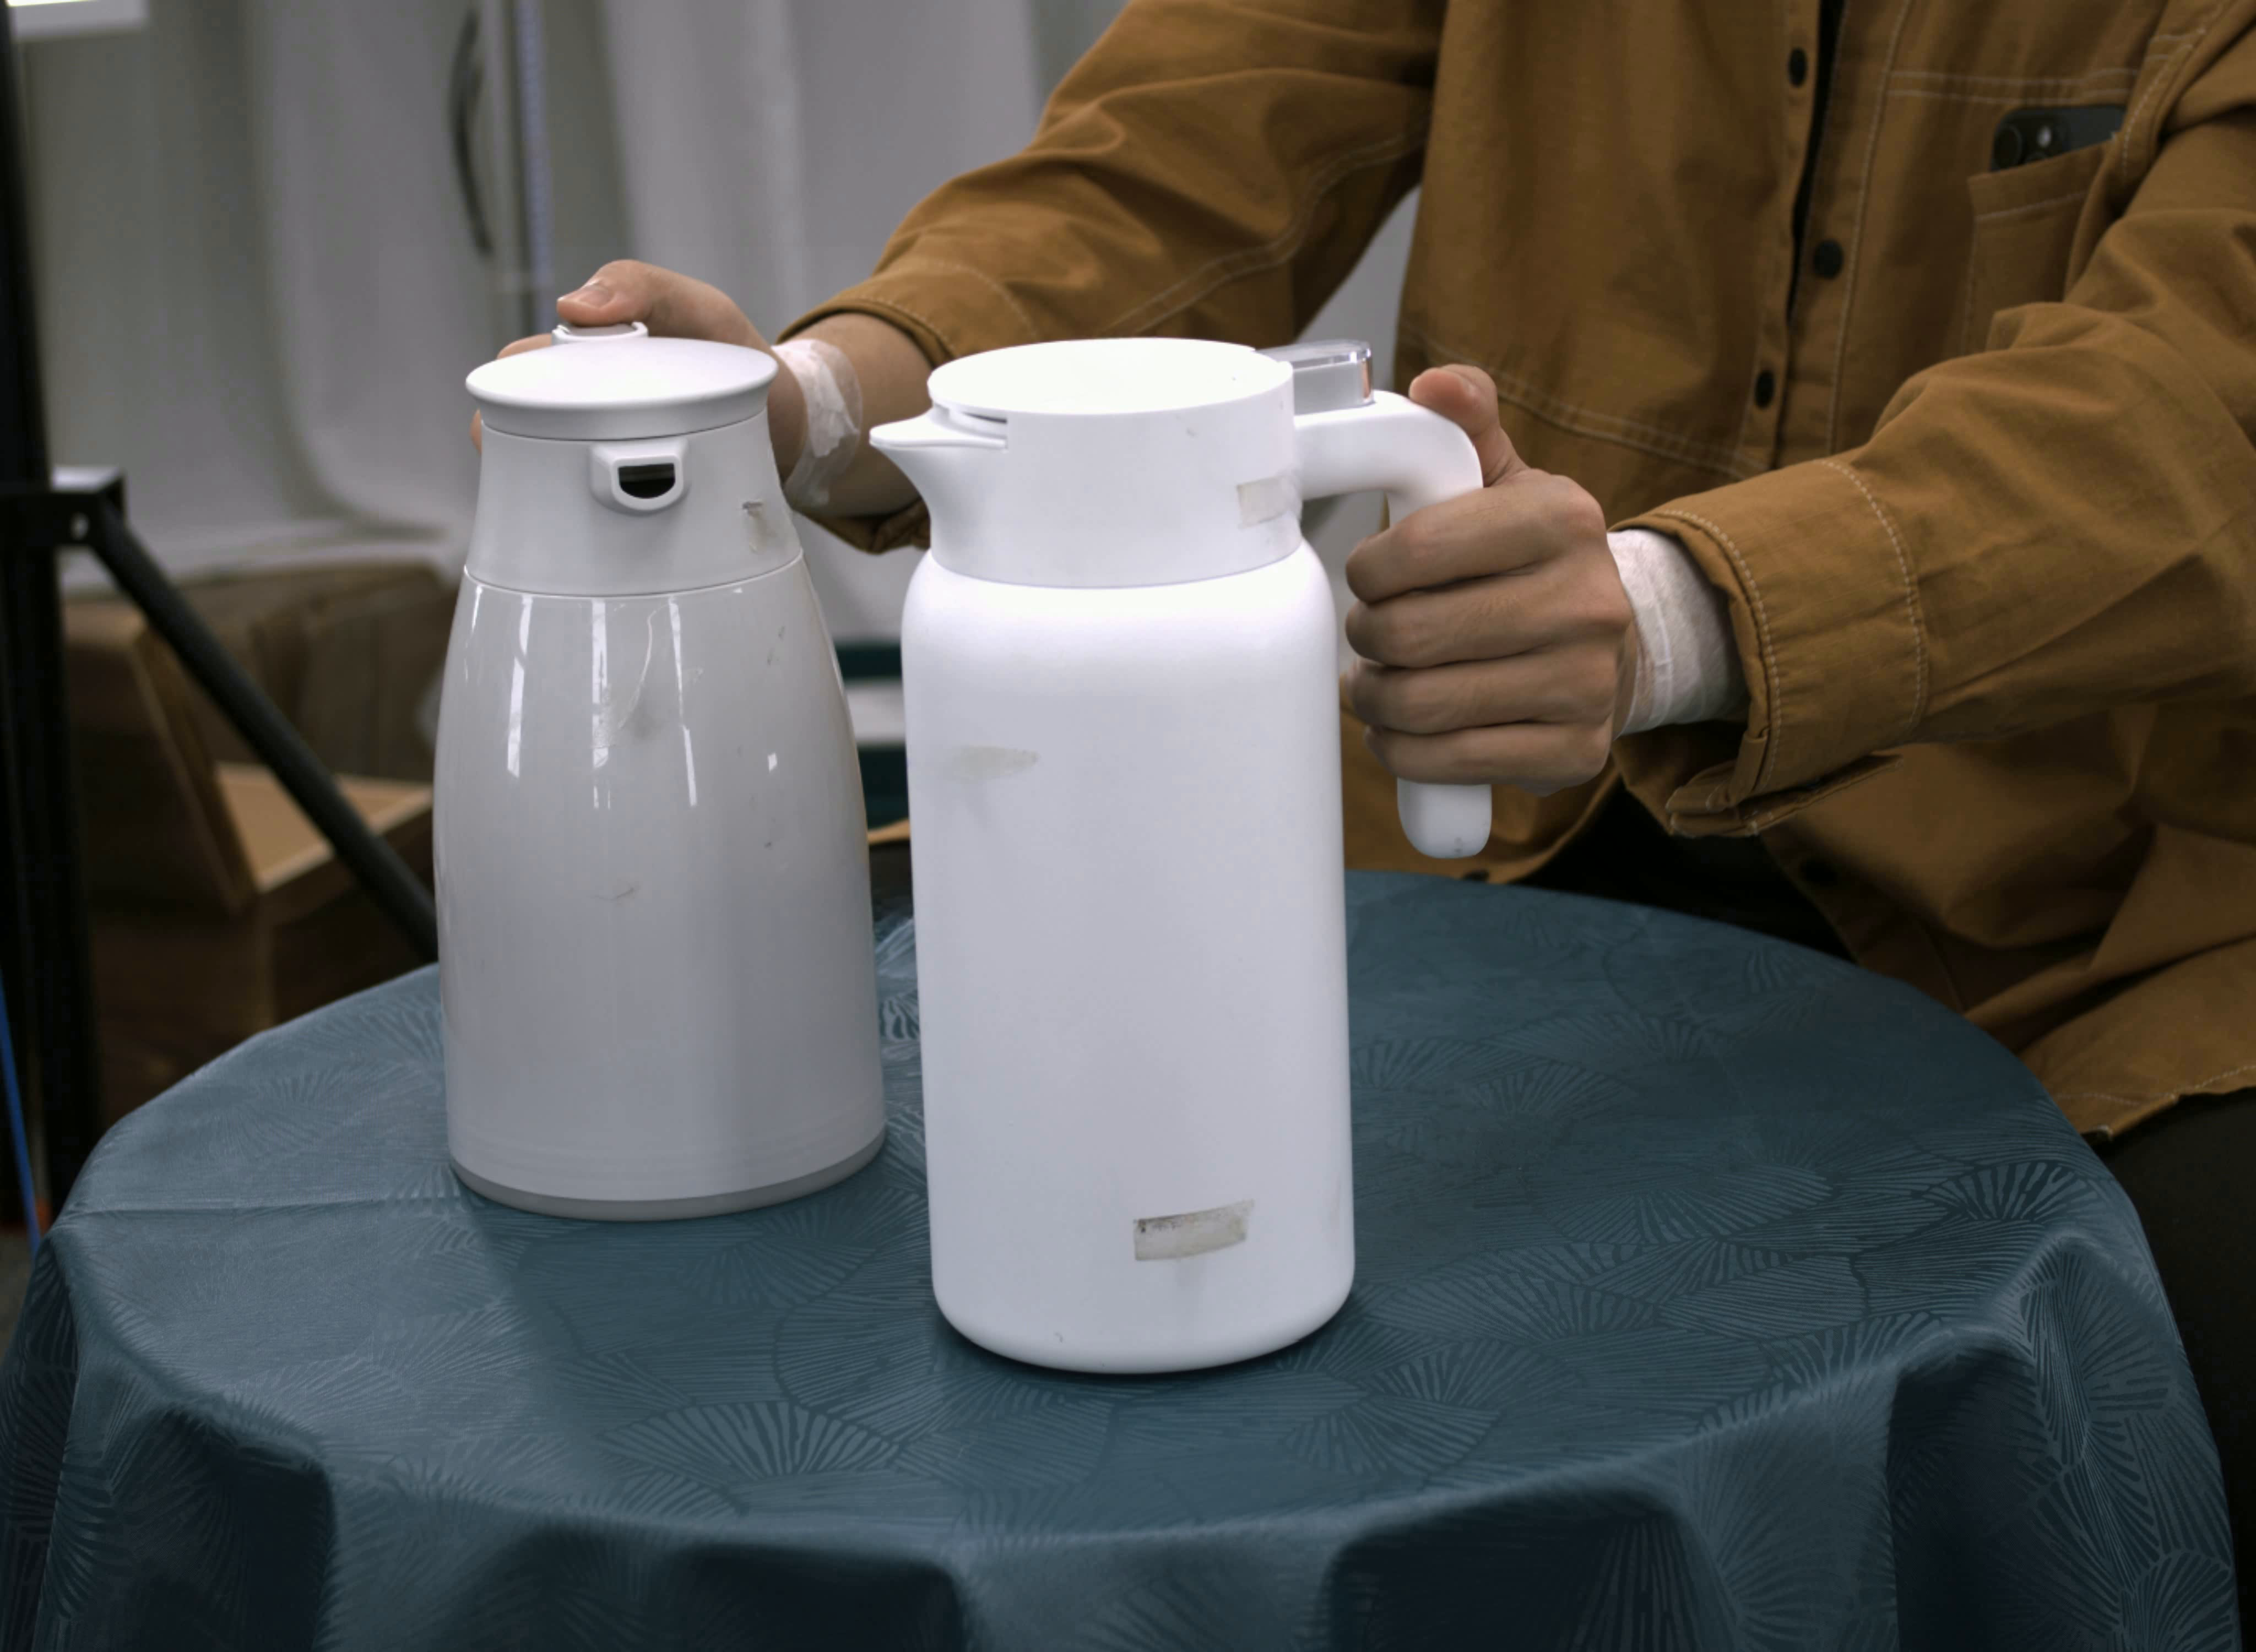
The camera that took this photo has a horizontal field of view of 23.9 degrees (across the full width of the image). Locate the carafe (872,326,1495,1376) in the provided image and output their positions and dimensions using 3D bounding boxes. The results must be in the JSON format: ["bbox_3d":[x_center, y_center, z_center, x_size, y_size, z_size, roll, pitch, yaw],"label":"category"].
[{"bbox_3d":[0.016,0.003,1.435,0.169,0.269,0.126,-8,14,-21],"label":"carafe"}]

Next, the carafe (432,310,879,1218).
[{"bbox_3d":[-0.148,-0.027,1.601,0.131,0.248,0.170,-5,14,-10],"label":"carafe"}]
